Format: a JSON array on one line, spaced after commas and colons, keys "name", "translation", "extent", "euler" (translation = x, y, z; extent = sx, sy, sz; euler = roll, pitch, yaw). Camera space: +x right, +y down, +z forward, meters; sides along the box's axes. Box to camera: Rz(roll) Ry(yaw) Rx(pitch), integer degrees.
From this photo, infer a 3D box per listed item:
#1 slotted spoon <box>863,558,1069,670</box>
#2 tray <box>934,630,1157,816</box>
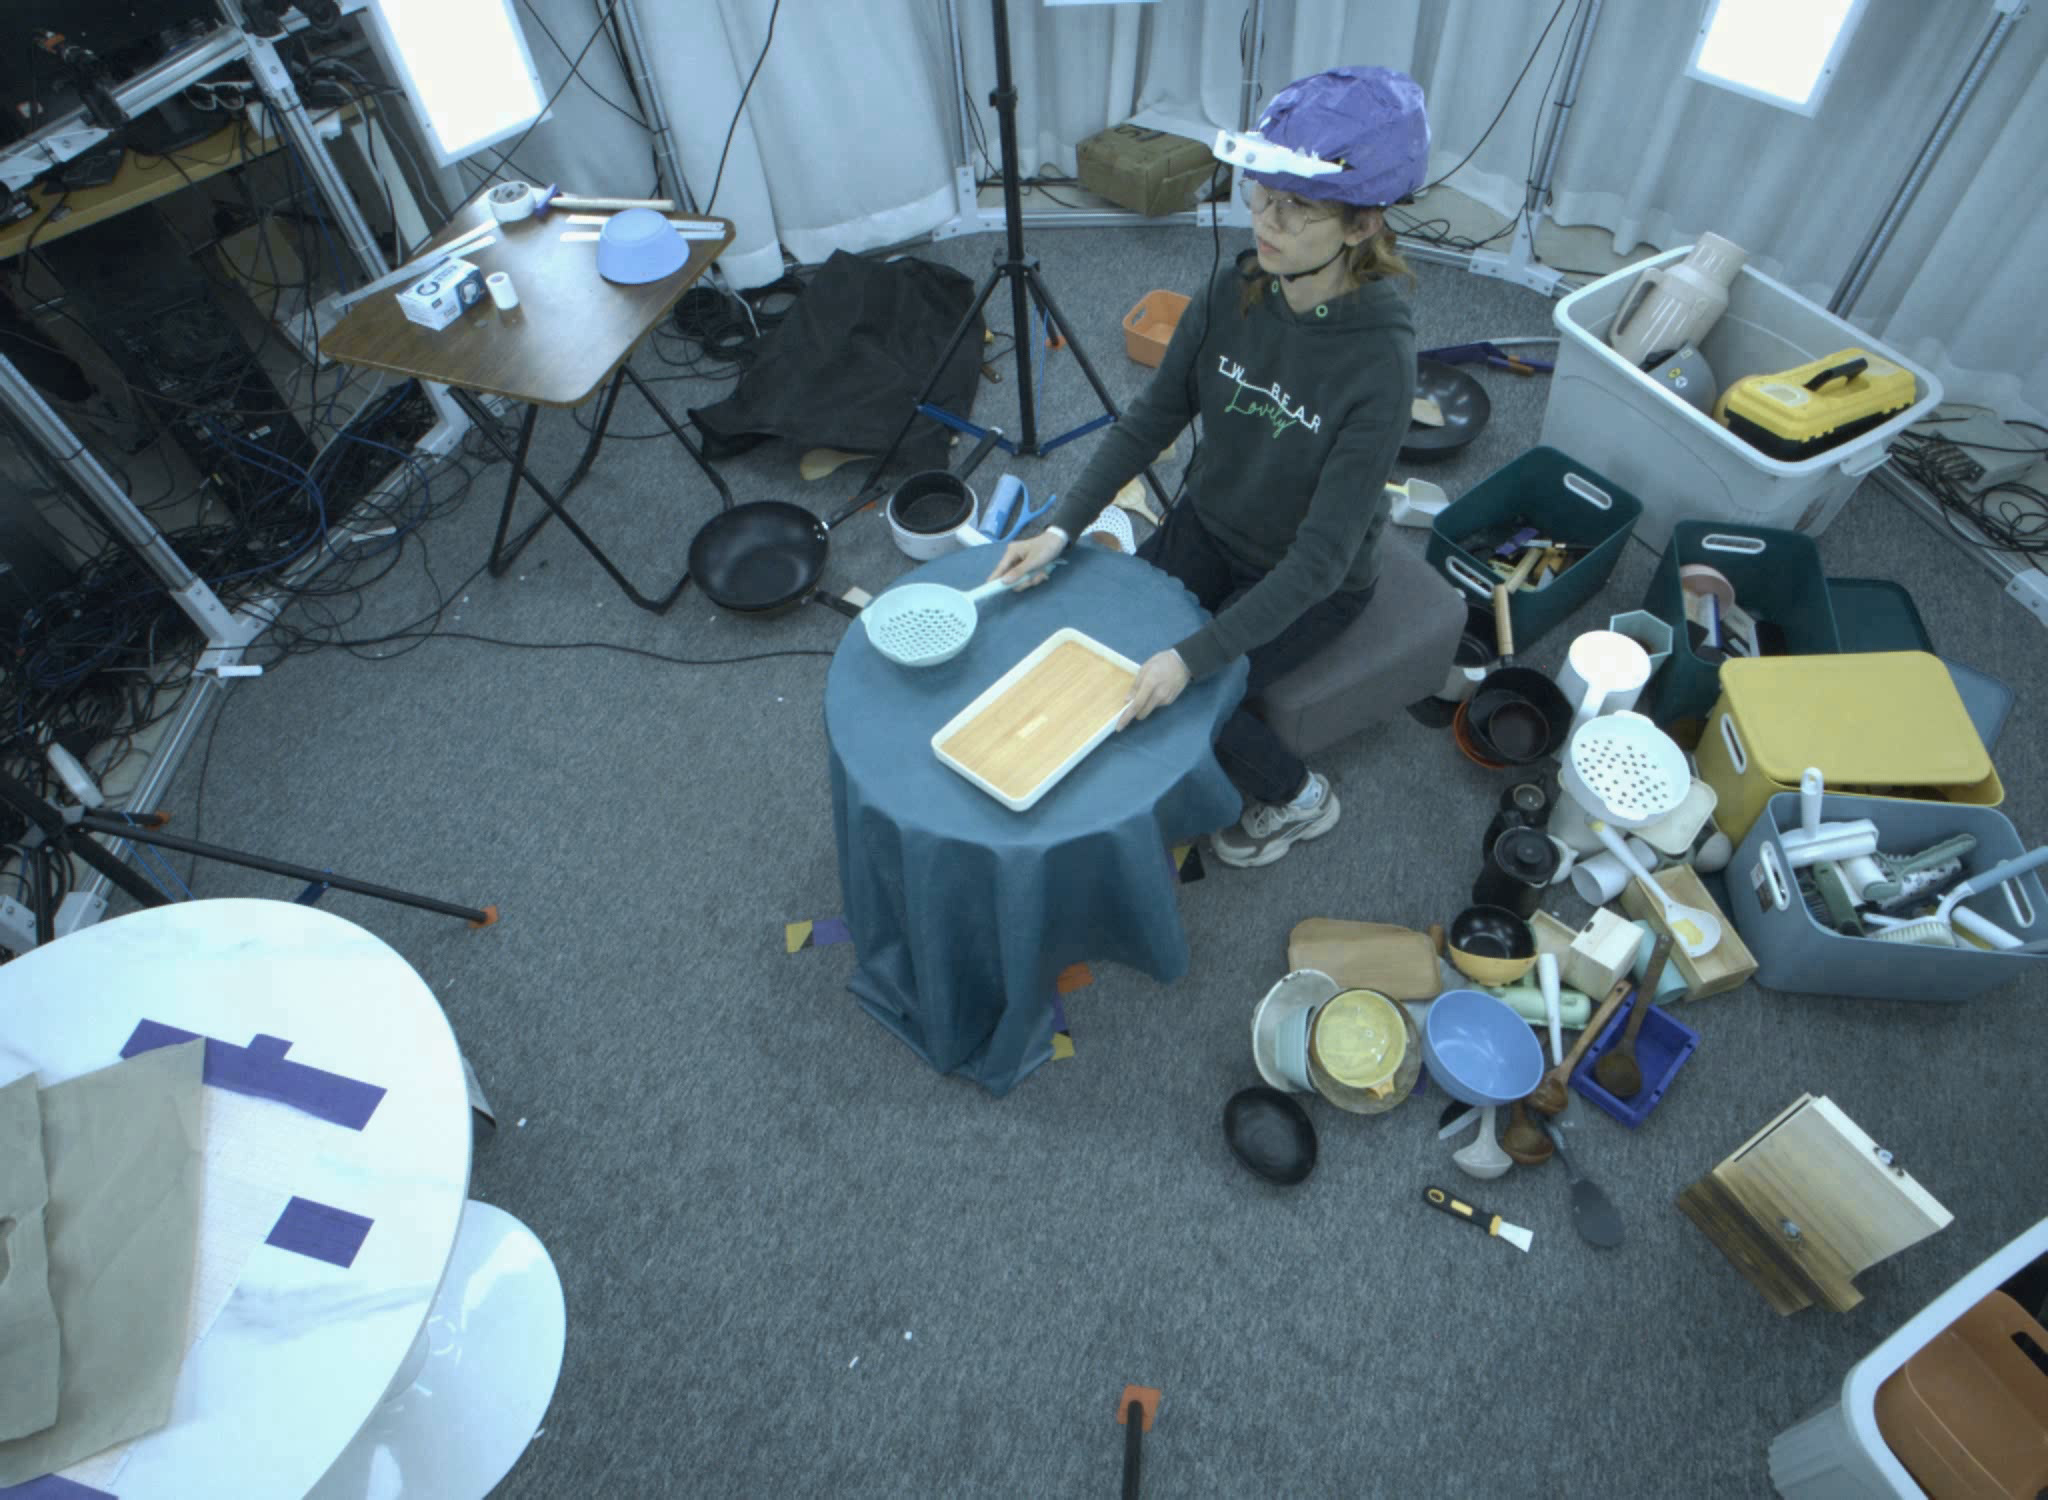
[{"name": "slotted spoon", "translation": [-0.077, -0.231, 1.918], "extent": [0.361, 0.076, 0.166], "euler": [-35, 57, -18]}, {"name": "tray", "translation": [0.034, -0.046, 1.796], "extent": [0.187, 0.028, 0.302], "euler": [34, 63, 30]}]
